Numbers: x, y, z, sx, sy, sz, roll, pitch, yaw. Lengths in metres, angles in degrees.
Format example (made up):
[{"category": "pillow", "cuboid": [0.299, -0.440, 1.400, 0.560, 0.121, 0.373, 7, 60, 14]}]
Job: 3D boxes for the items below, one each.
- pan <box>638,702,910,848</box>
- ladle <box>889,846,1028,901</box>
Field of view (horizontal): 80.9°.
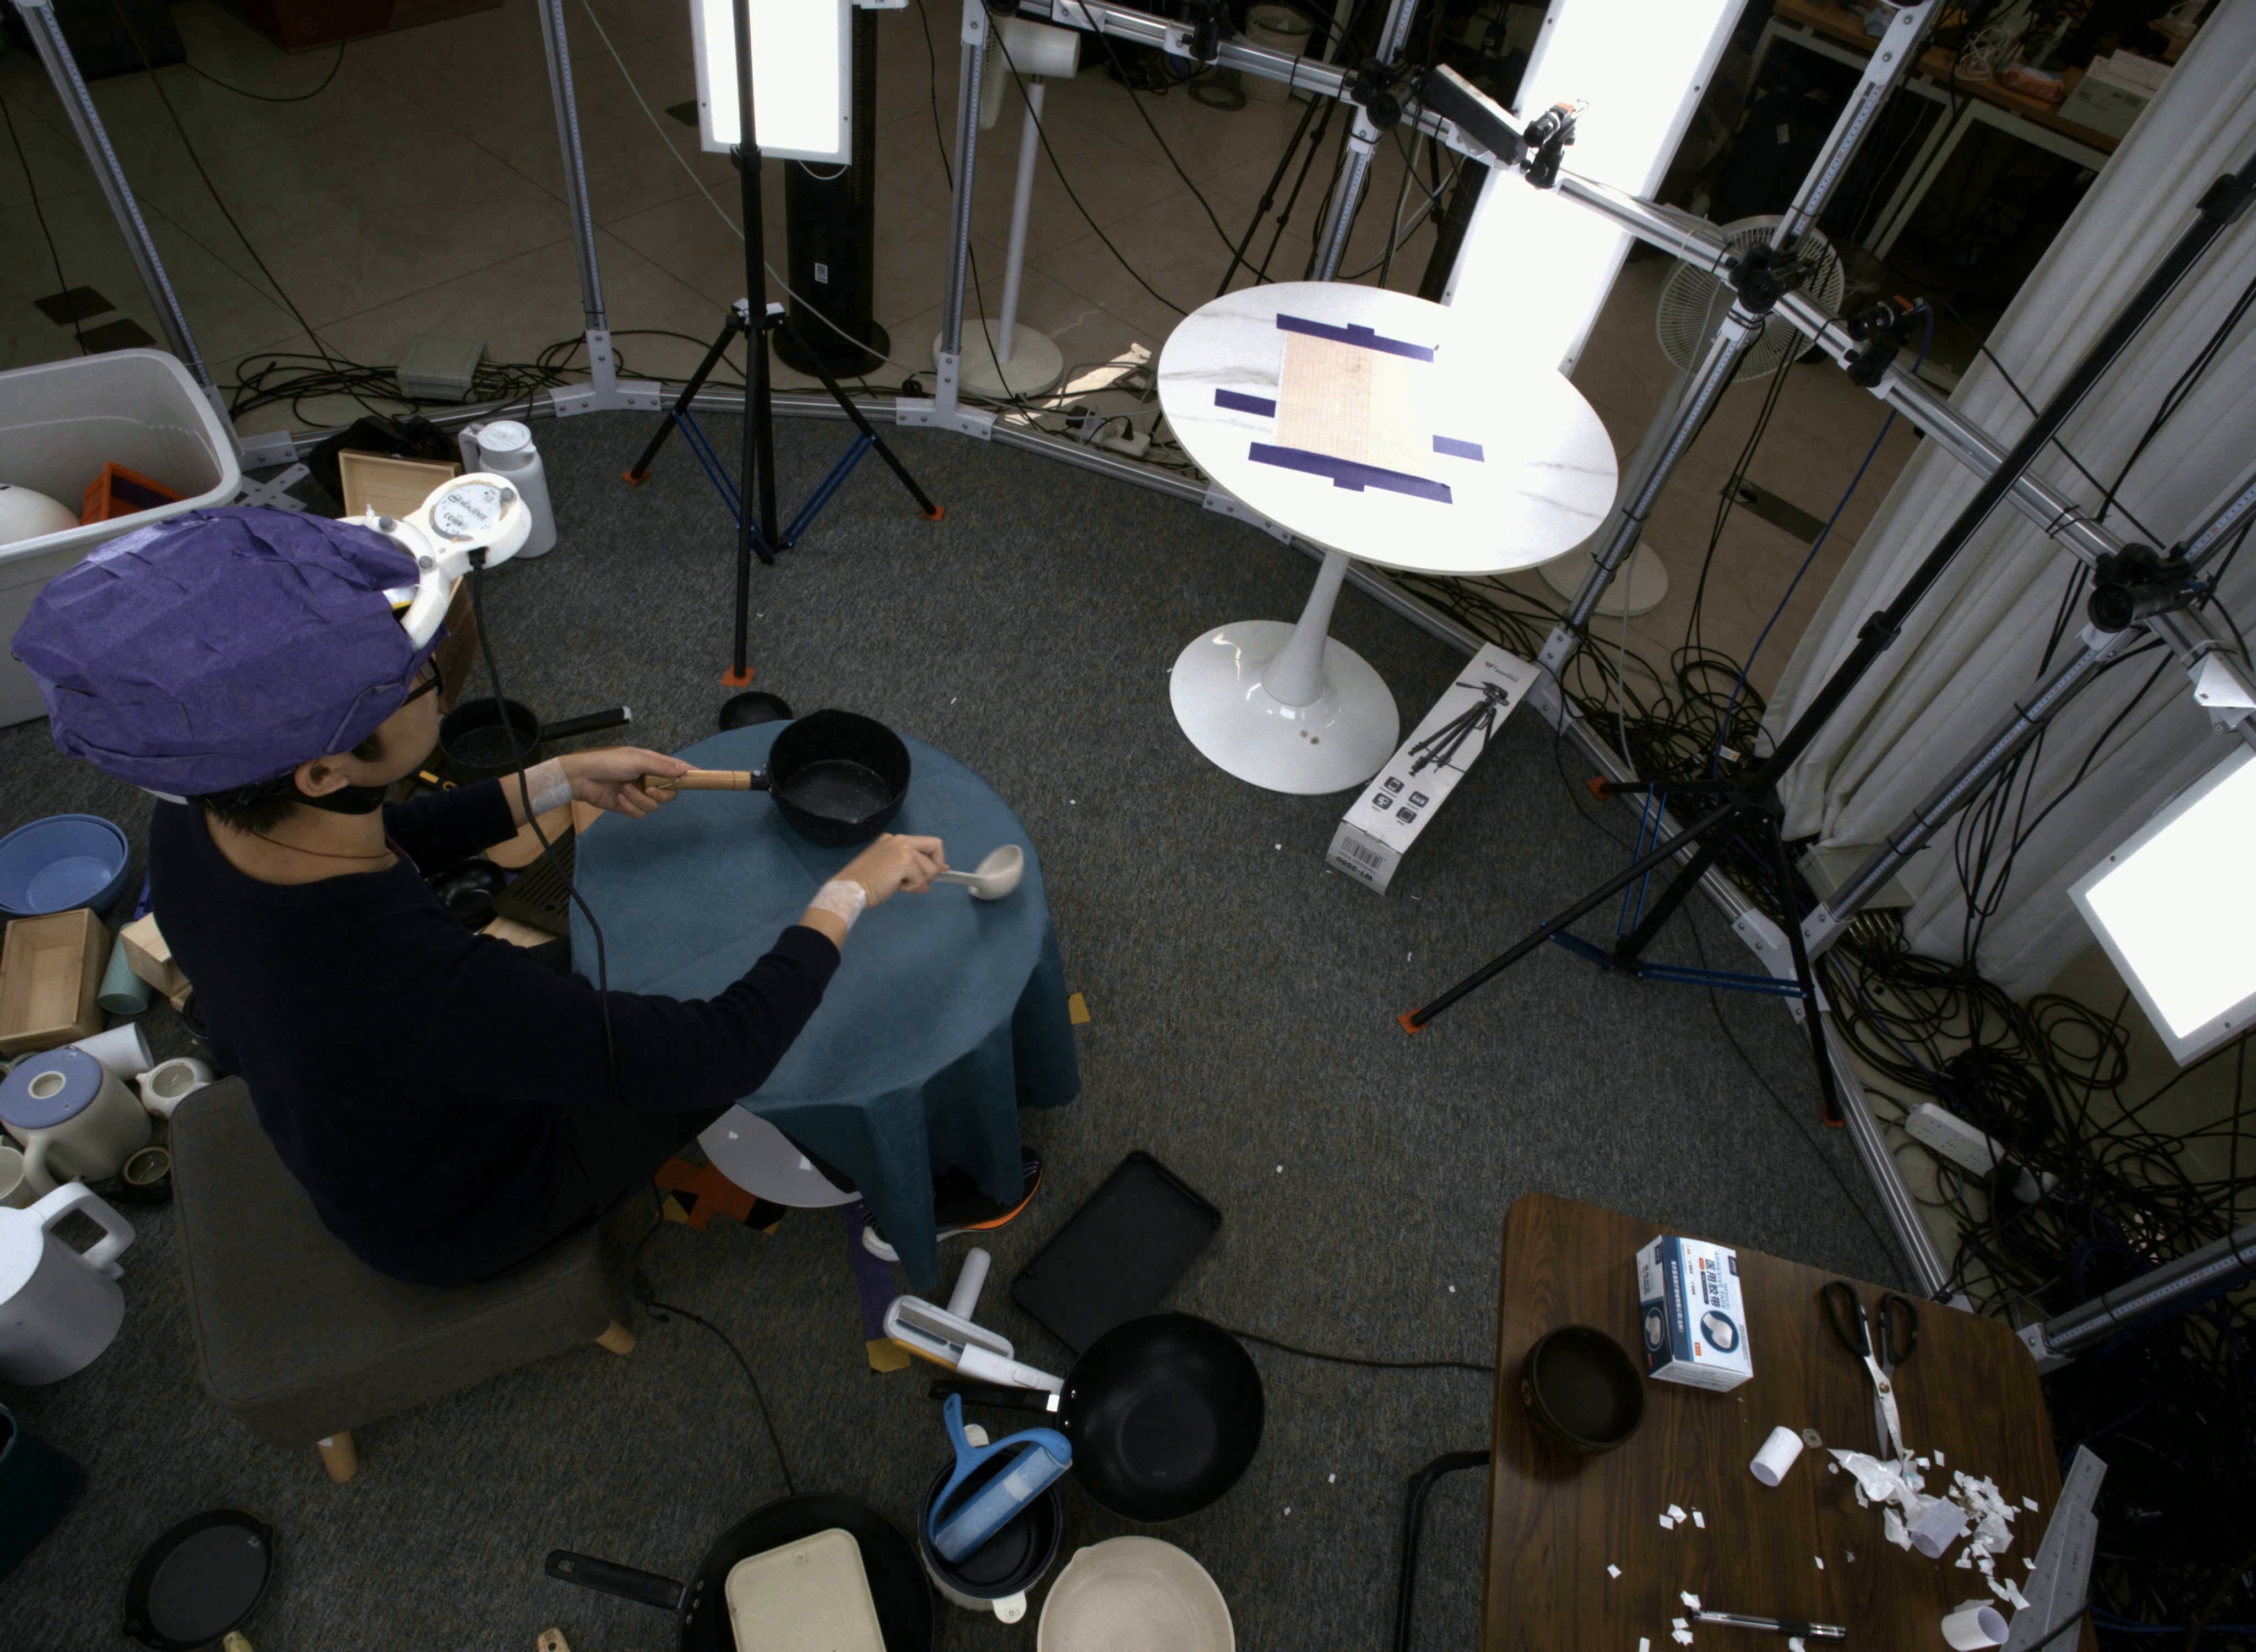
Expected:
[{"category": "pan", "cuboid": [-0.453, -0.054, 1.668, 0.345, 0.110, 0.202, -8, 57, -25]}, {"category": "ladle", "cuboid": [-0.215, 0.046, 1.596, 0.281, 0.088, 0.068, 16, 47, -62]}]
